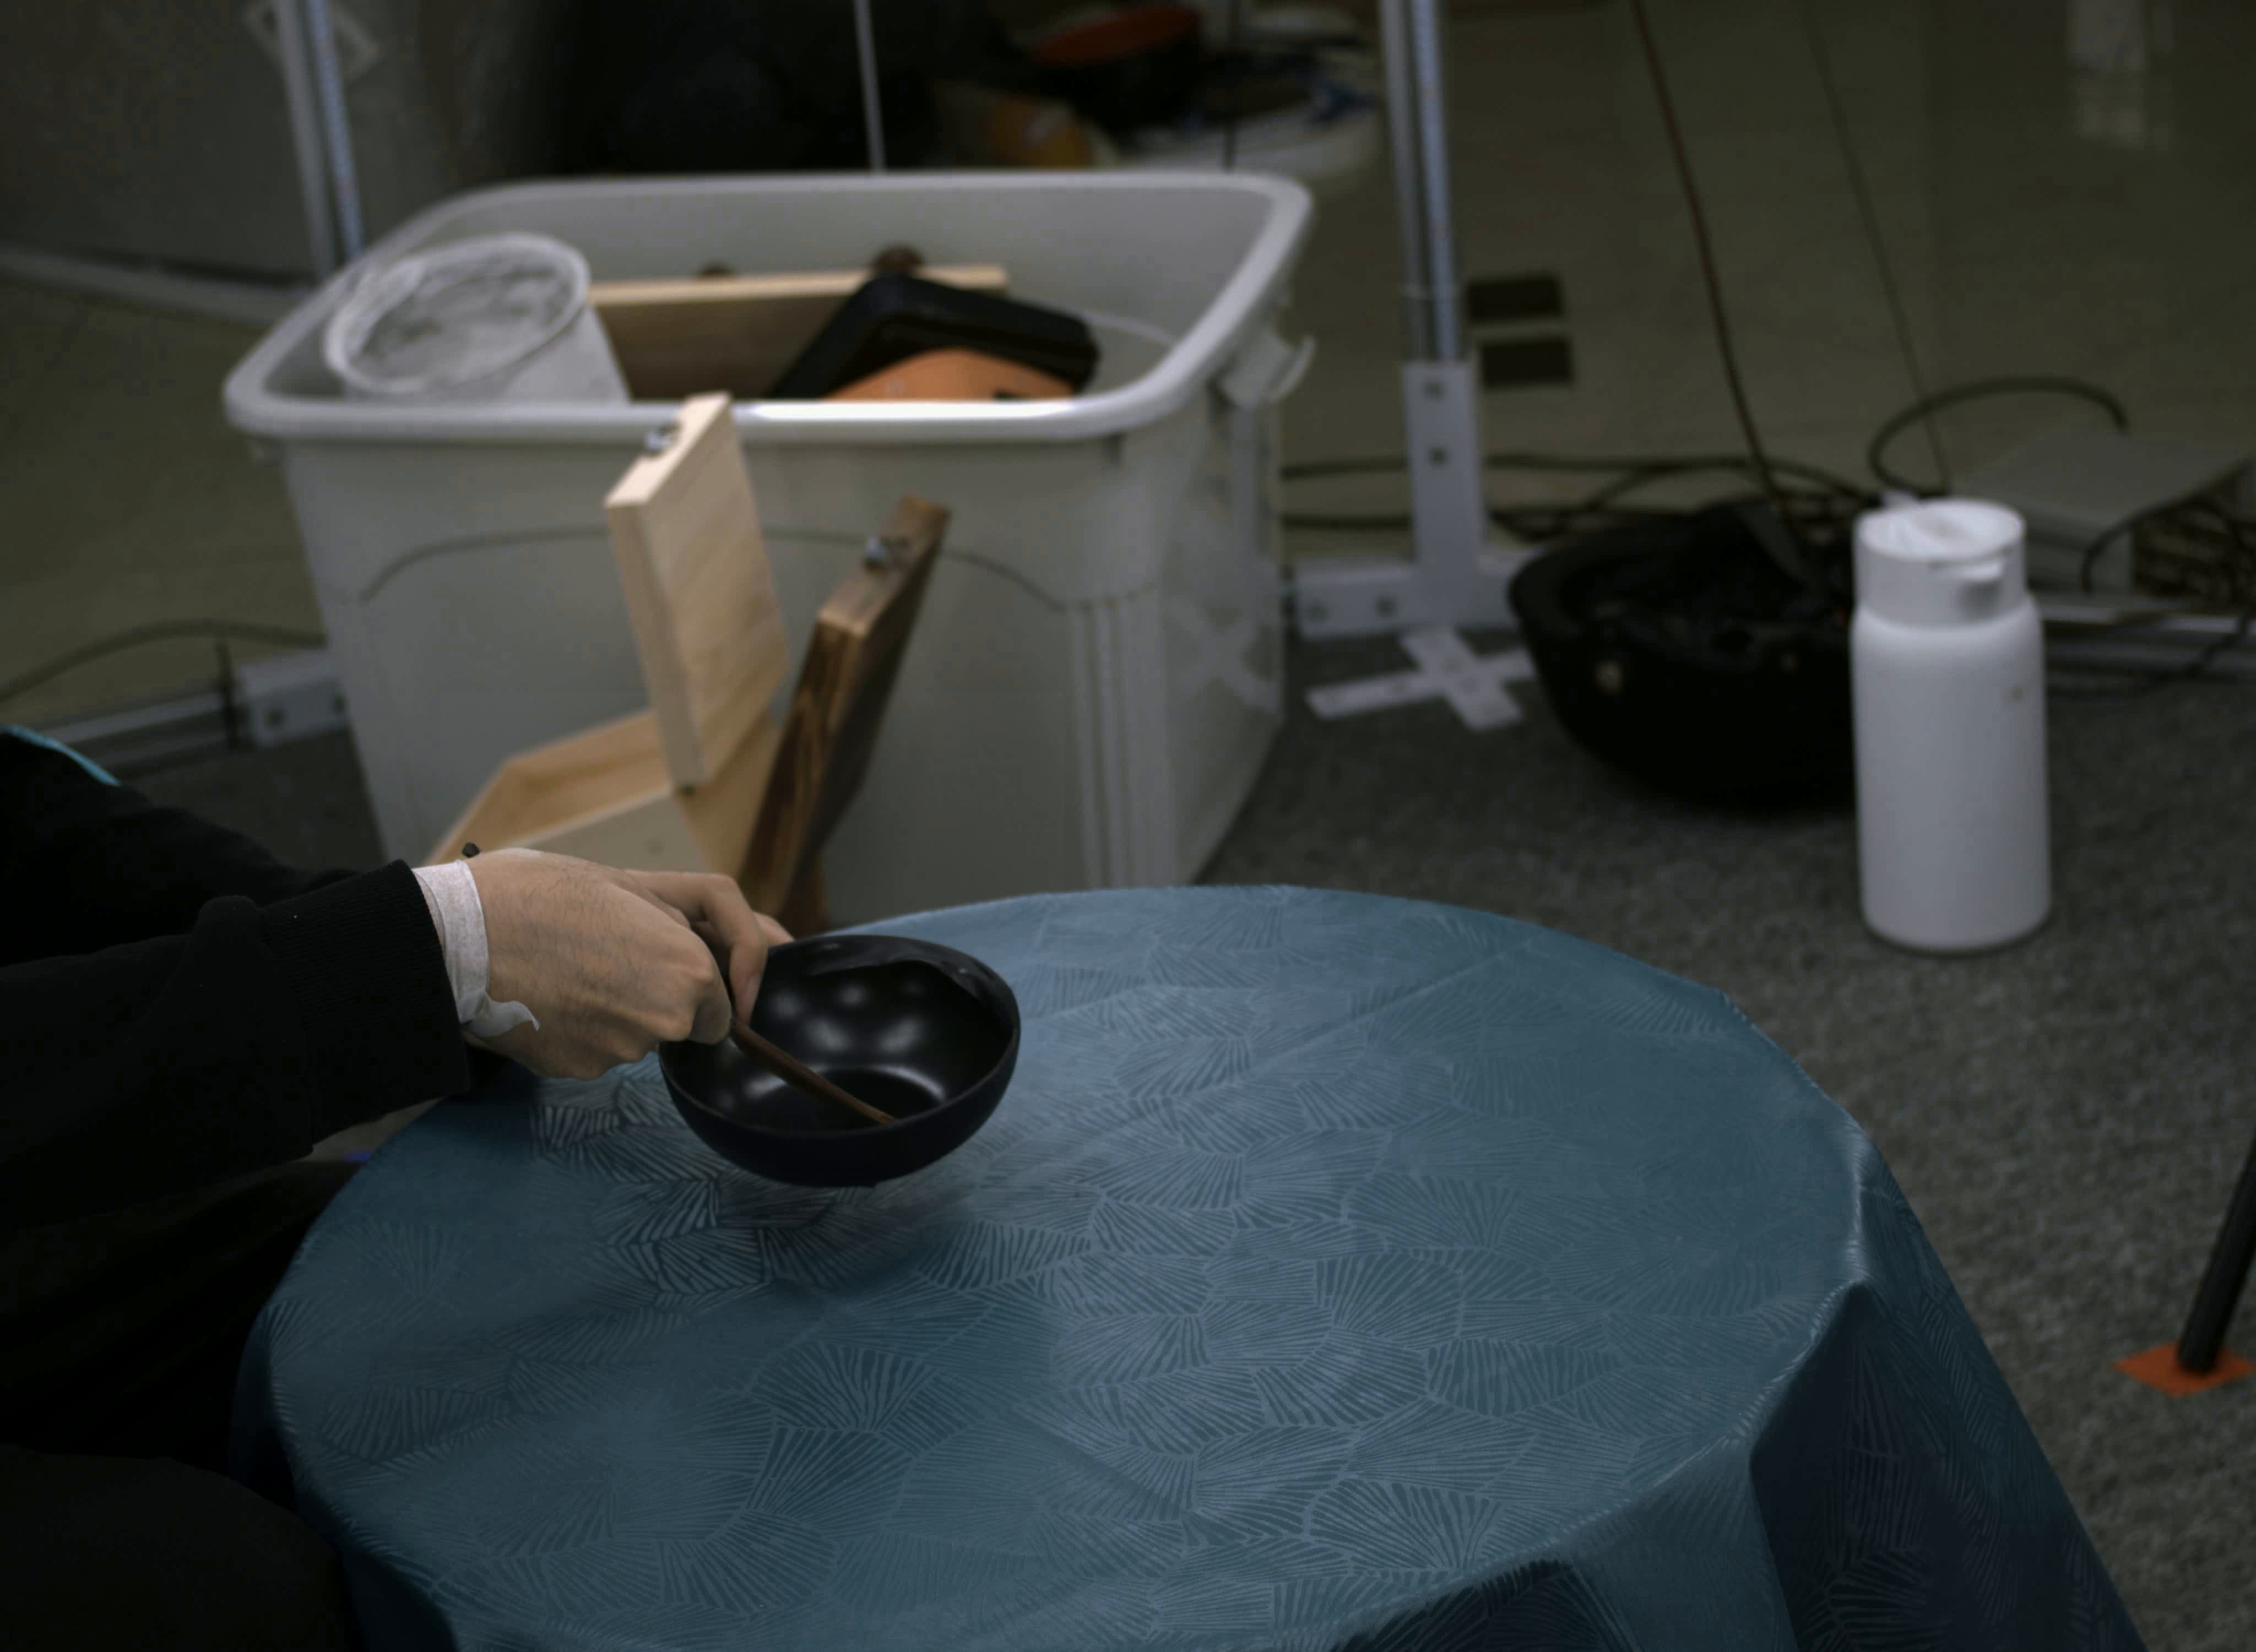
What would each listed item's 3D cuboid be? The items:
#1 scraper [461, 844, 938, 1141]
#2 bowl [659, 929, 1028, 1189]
[{"bbox_3d":[-0.161,0.063,2.095,0.011,0.213,0.075,-59,28,-9],"label":"scraper"},{"bbox_3d":[-0.107,0.097,2.158,0.140,0.051,0.137,-3,34,2],"label":"bowl"}]
